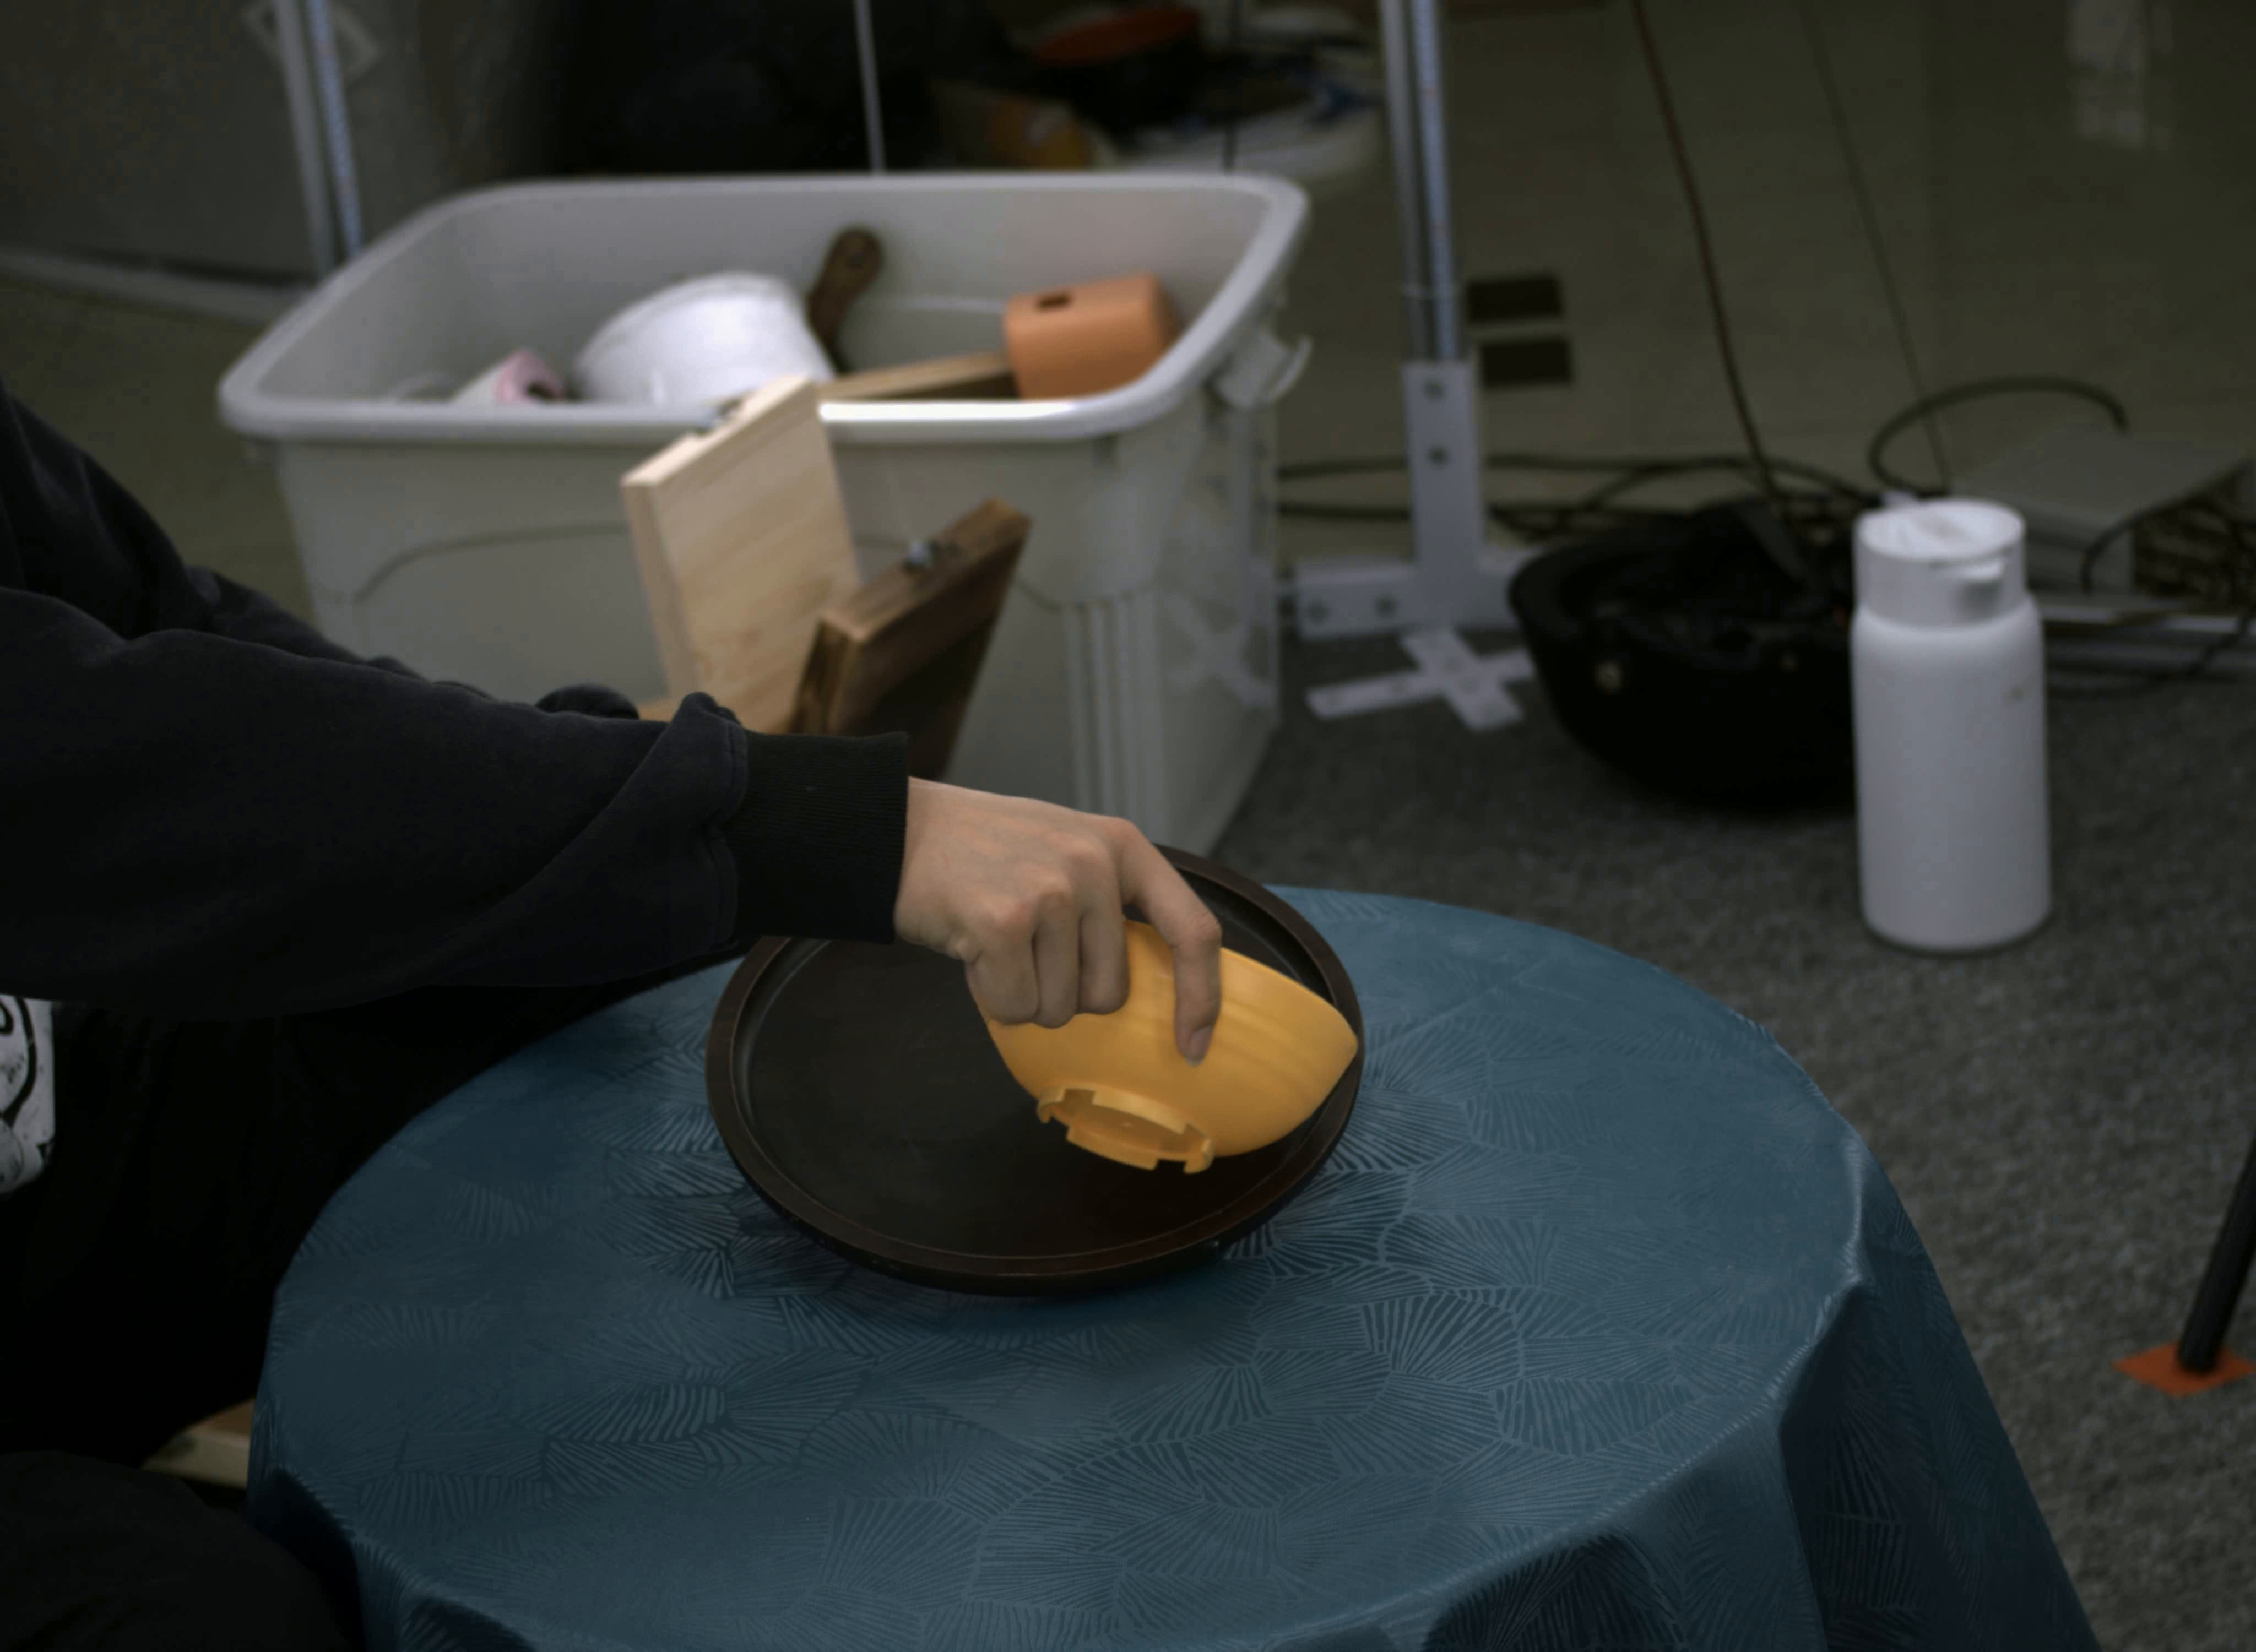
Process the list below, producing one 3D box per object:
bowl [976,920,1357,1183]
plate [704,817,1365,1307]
[{"bbox_3d":[0.007,0.091,2.069,0.145,0.147,0.059,6,69,25],"label":"bowl"},{"bbox_3d":[-0.035,0.091,2.165,0.254,0.029,0.250,-1,43,1],"label":"plate"}]
